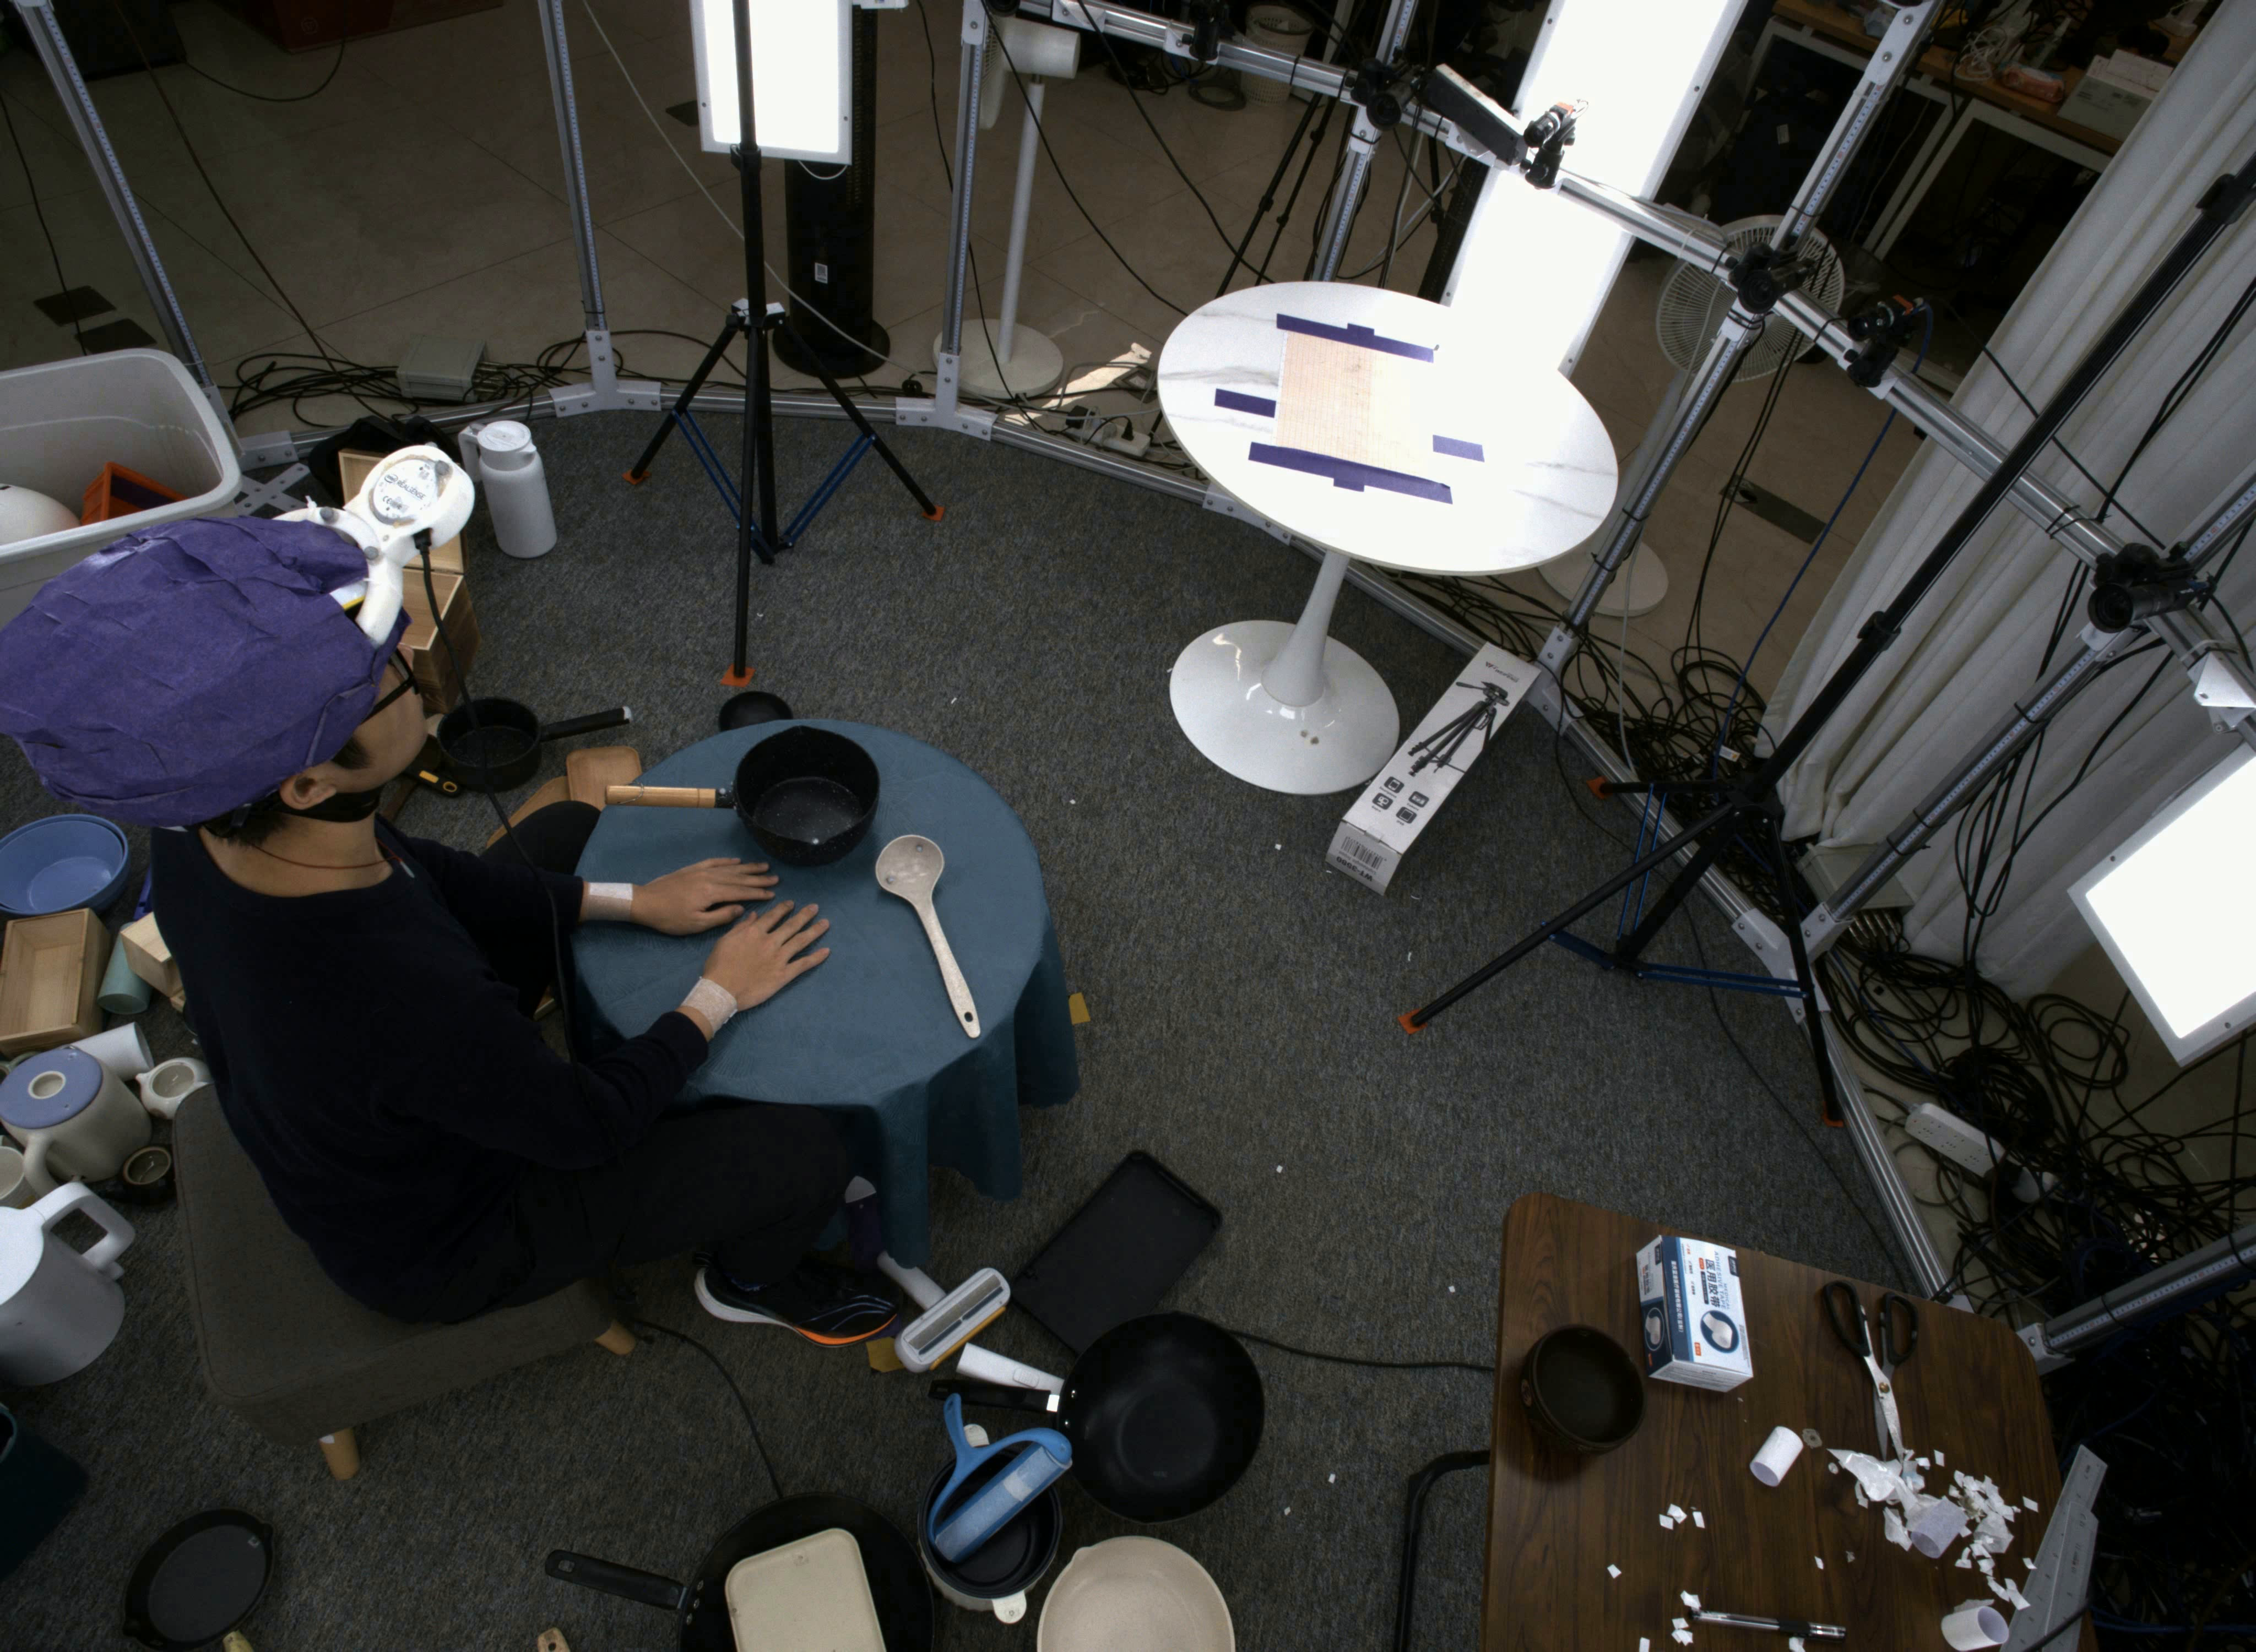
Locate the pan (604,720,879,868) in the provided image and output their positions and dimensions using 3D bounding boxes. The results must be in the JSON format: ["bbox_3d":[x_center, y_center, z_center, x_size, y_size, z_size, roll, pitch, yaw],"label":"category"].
[{"bbox_3d":[-0.491,-0.030,1.648,0.345,0.110,0.202,-7,57,-21],"label":"pan"}]

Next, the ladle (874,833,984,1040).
[{"bbox_3d":[-0.238,0.133,1.618,0.089,0.071,0.268,-22,63,-11],"label":"ladle"}]
